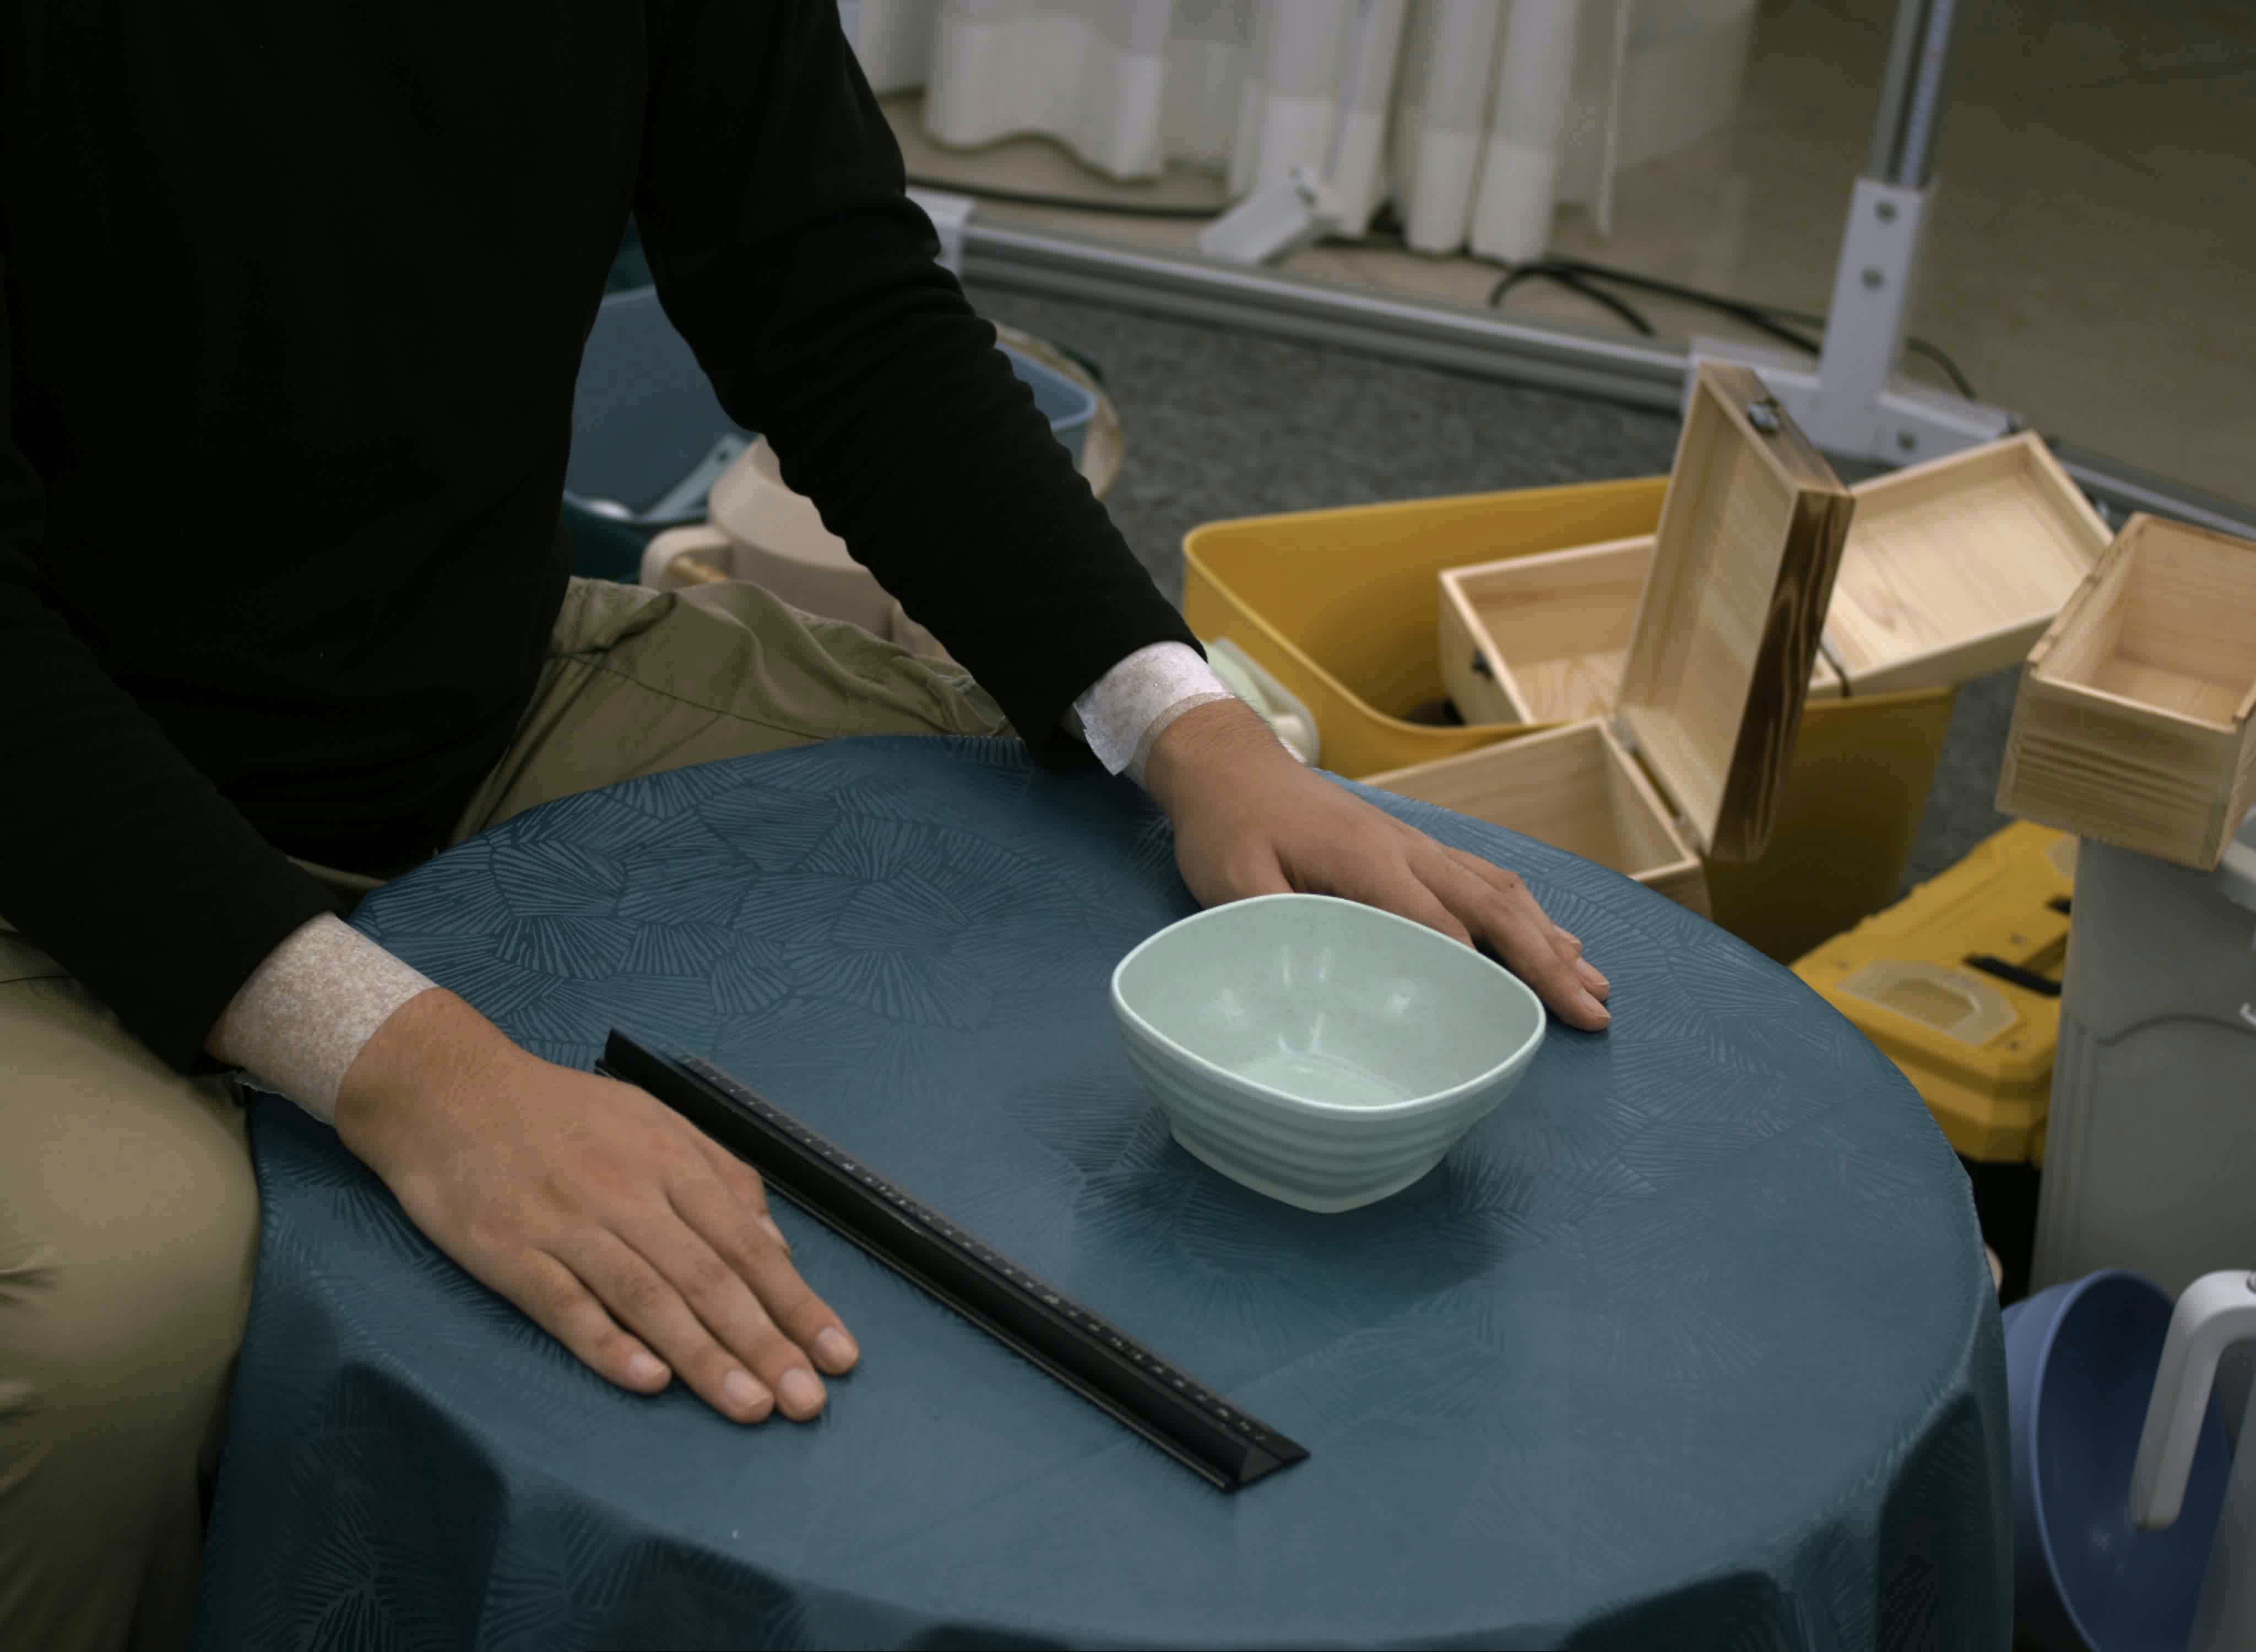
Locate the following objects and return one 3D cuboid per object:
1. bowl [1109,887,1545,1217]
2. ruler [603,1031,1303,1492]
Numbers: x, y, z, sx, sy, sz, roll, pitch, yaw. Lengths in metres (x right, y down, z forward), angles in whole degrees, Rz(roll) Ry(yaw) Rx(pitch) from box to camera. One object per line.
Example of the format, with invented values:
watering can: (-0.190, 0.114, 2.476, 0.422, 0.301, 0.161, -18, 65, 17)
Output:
bowl: (0.065, 0.084, 1.833, 0.151, 0.058, 0.152, 6, 29, -3)
ruler: (-0.061, 0.135, 1.749, 0.039, 0.017, 0.315, -14, 33, -42)
